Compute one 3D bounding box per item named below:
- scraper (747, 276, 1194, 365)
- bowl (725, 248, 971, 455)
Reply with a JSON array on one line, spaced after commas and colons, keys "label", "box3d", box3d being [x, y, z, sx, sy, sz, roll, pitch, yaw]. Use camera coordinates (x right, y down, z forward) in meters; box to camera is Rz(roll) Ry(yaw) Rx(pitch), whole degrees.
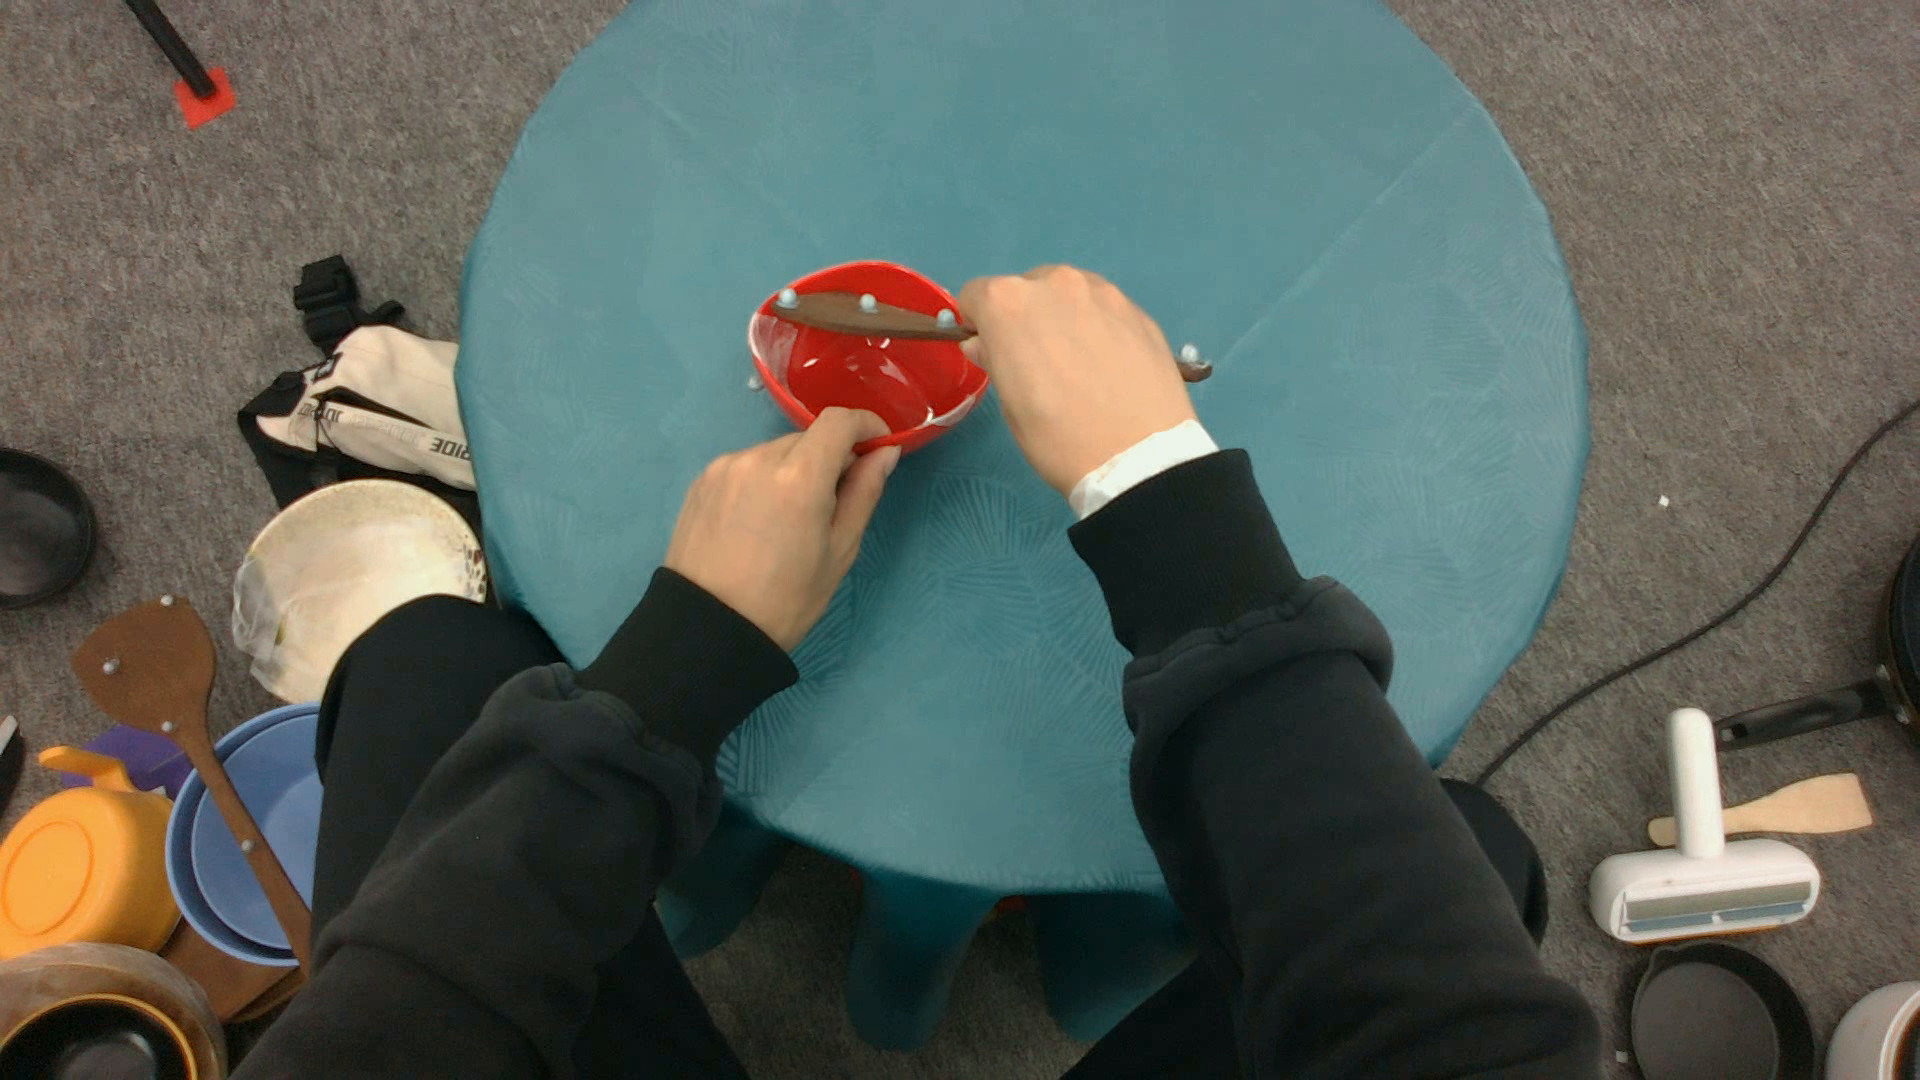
[{"label": "scraper", "box3d": [0.004, -0.100, 0.628, 0.211, 0.076, 0.011, 13, 110, 24]}, {"label": "bowl", "box3d": [-0.057, -0.086, 0.679, 0.119, 0.051, 0.119, 6, 52, -8]}]
